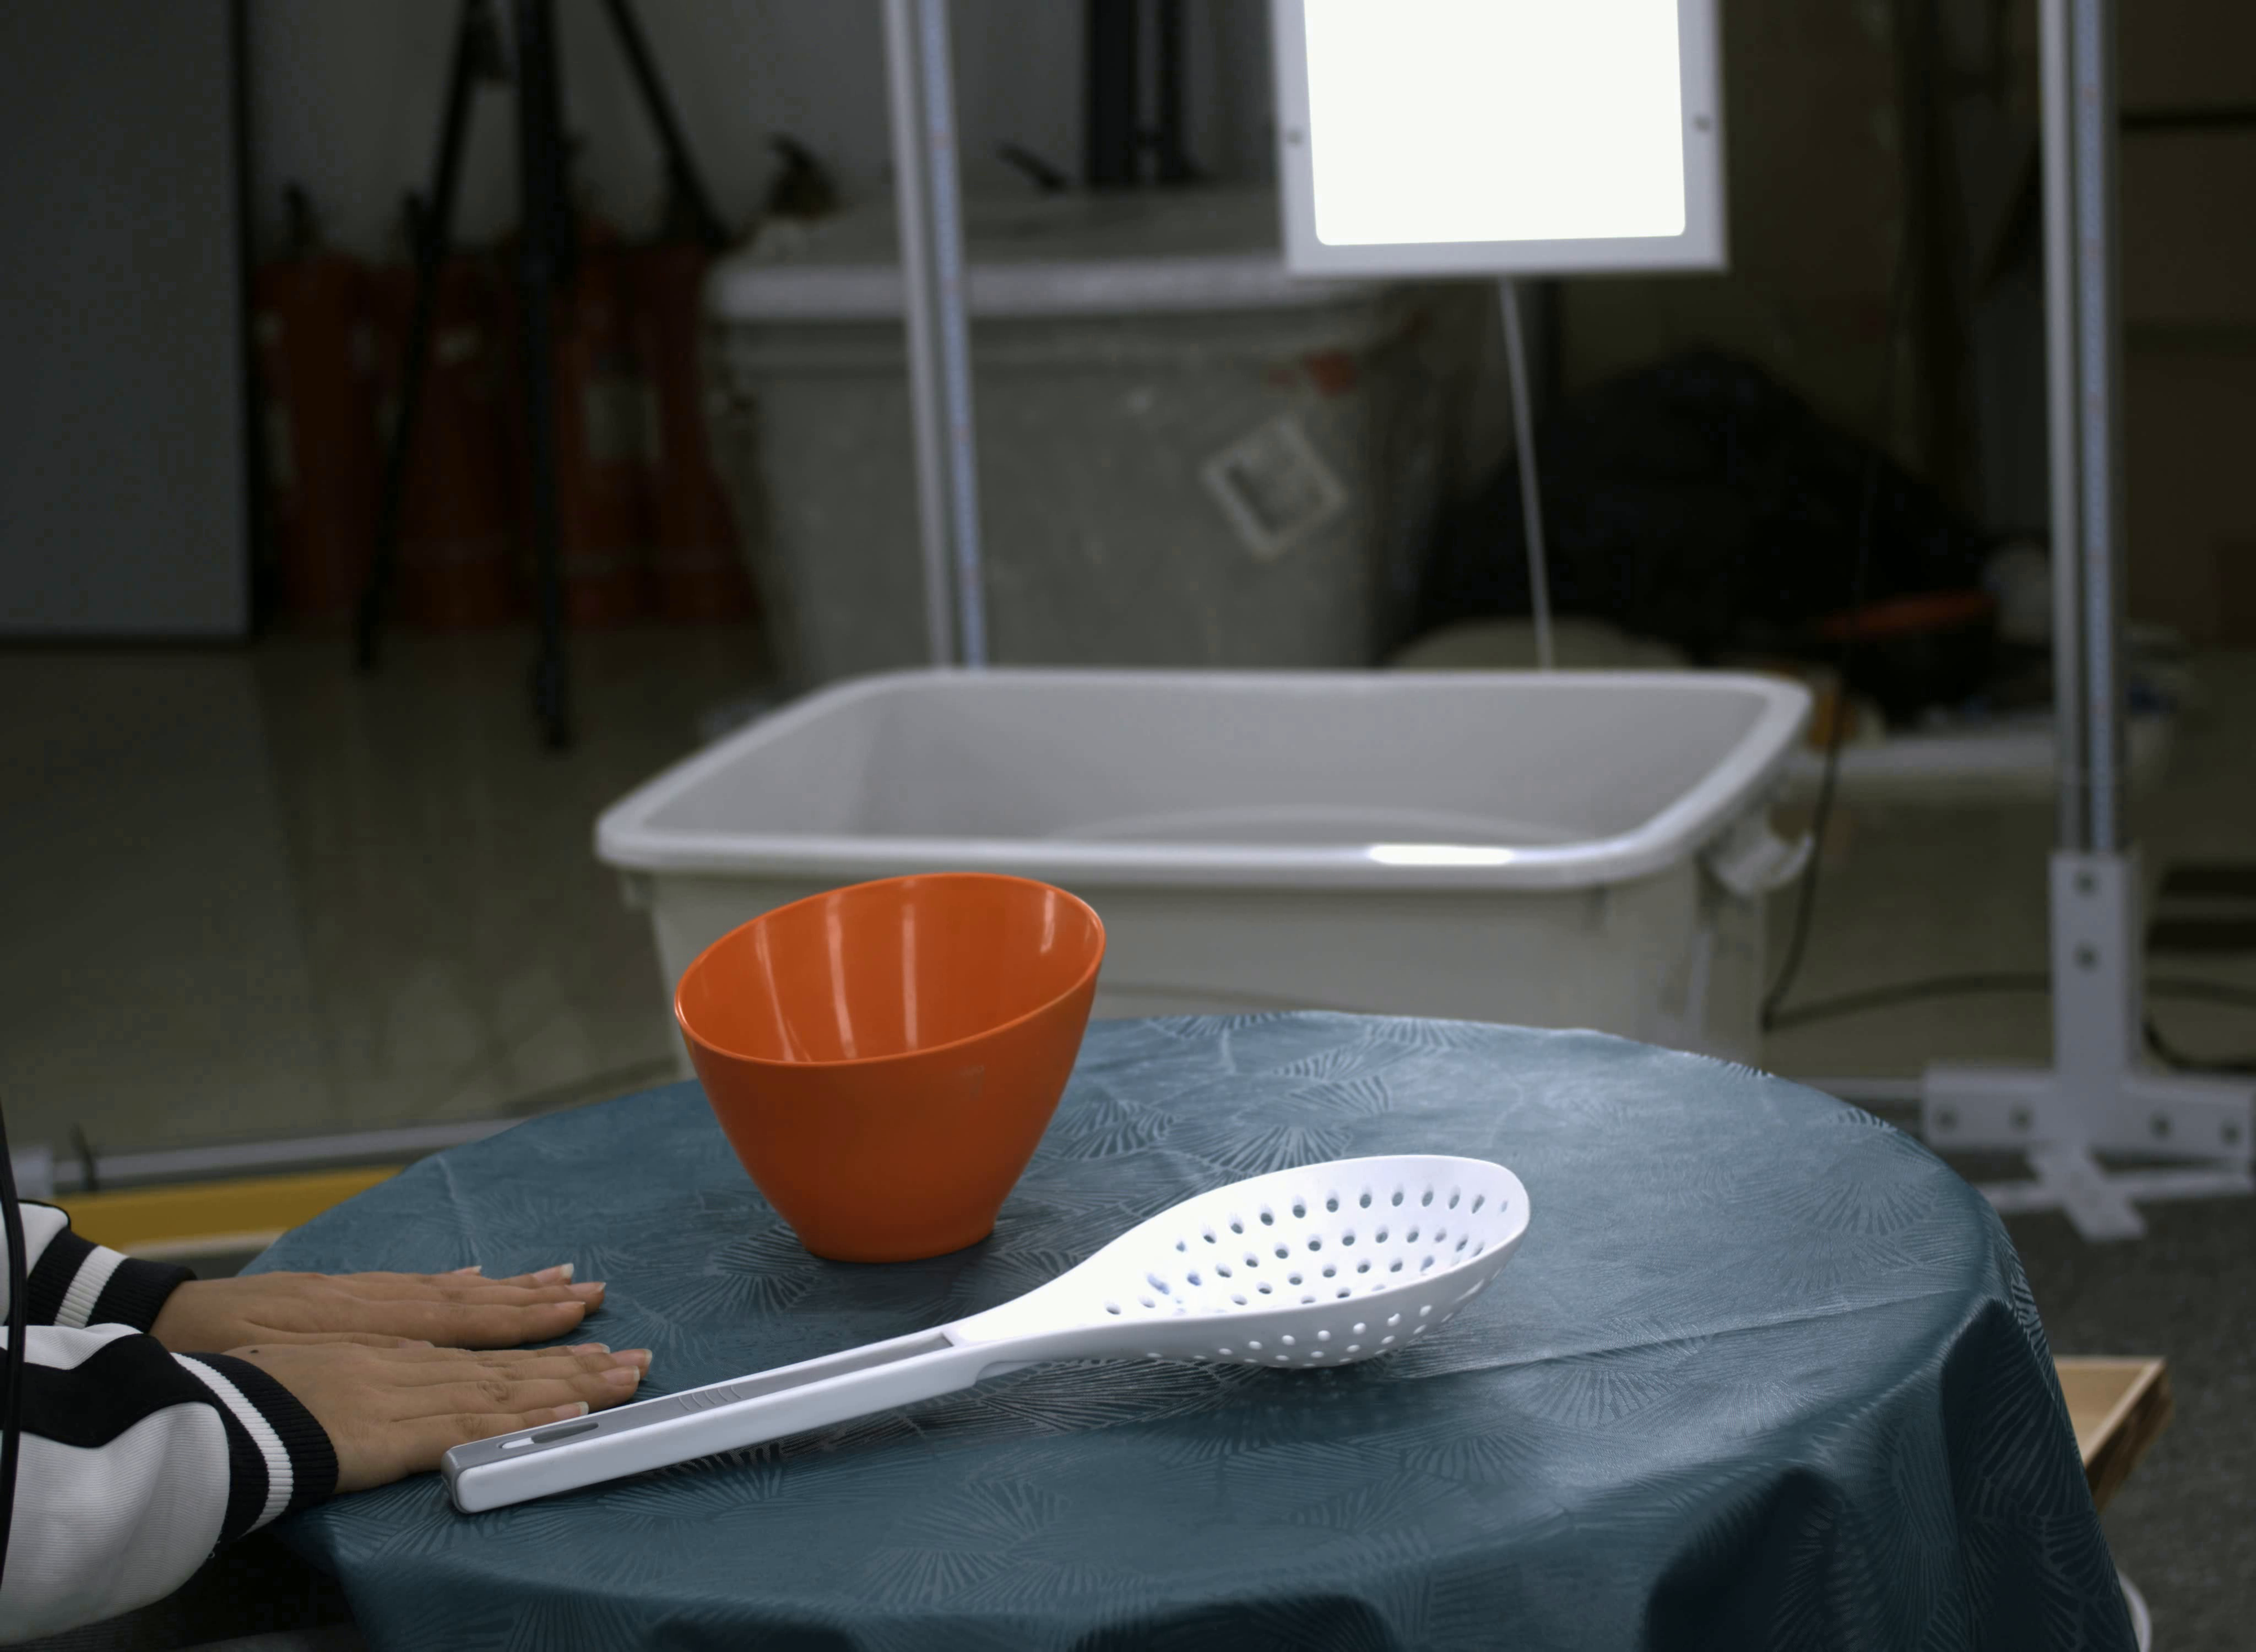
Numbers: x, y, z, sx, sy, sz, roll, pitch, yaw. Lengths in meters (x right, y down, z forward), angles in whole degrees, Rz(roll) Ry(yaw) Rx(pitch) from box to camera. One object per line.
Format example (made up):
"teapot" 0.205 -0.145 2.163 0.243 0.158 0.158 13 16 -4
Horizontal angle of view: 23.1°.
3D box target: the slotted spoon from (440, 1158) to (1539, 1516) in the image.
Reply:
"slotted spoon" -0.039 0.158 1.690 0.345 0.046 0.137 -9 13 -13

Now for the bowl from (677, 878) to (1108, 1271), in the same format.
"bowl" -0.077 0.088 1.874 0.147 0.105 0.148 -4 16 0
